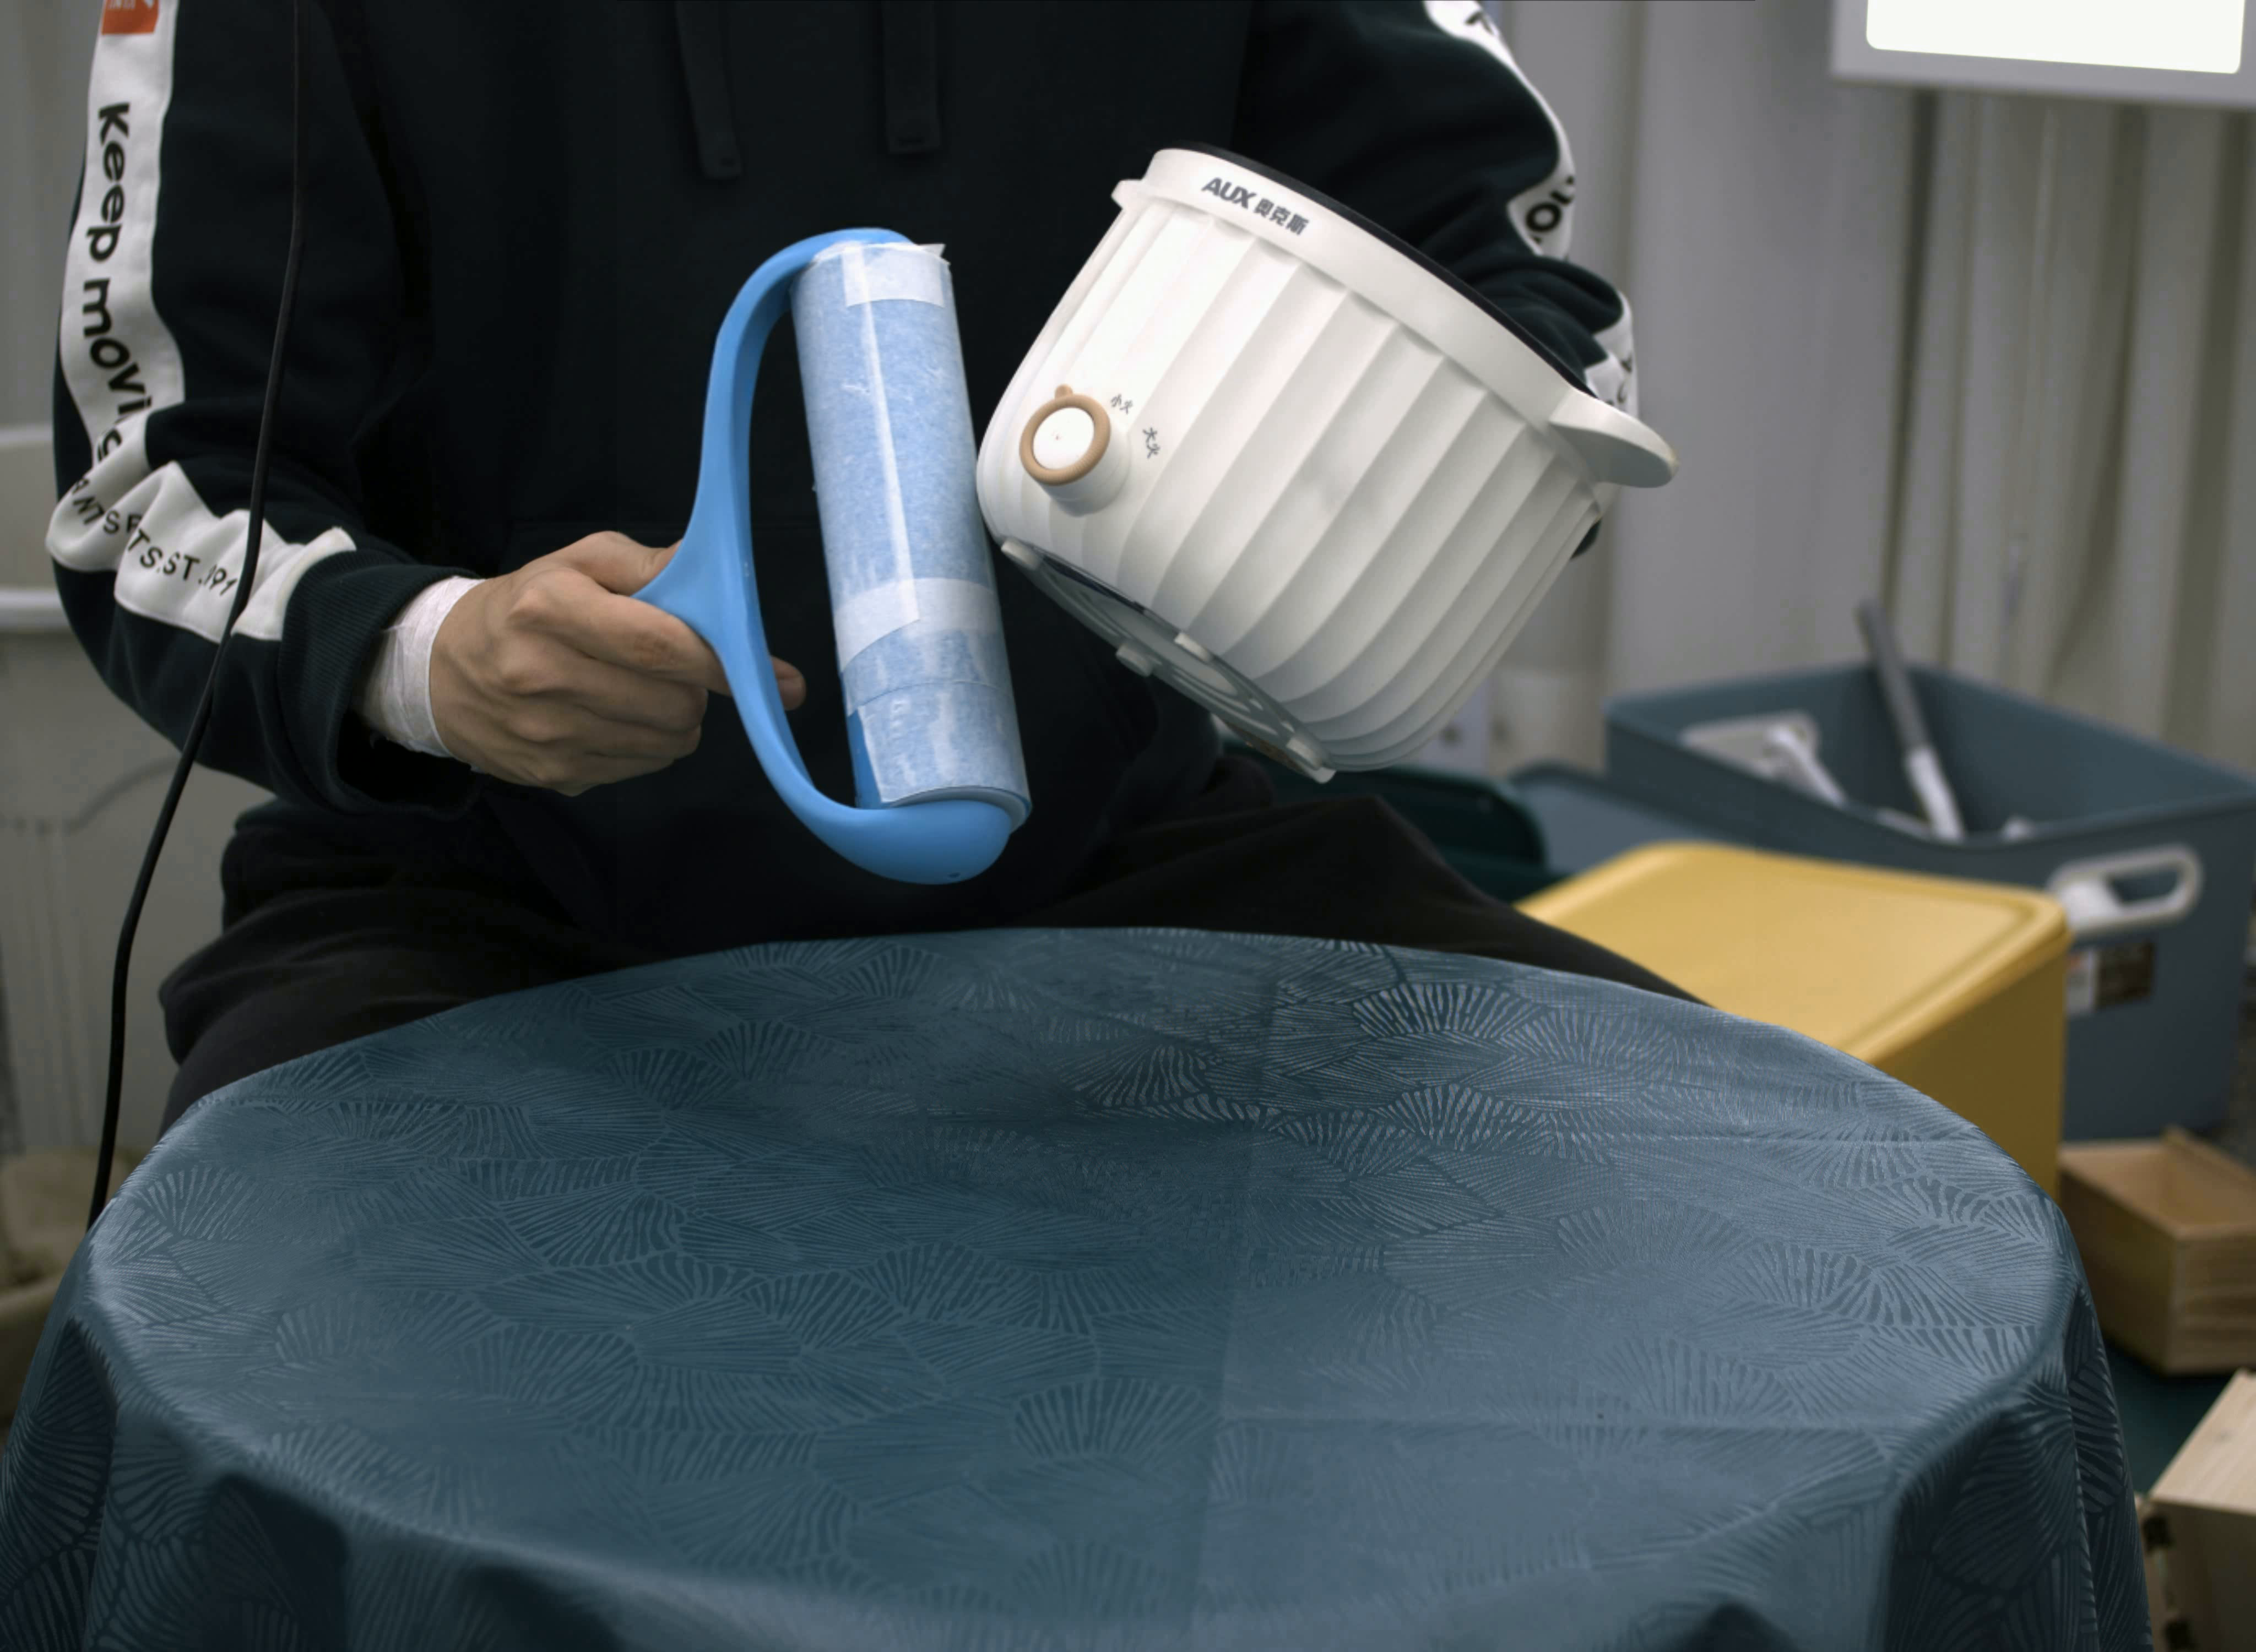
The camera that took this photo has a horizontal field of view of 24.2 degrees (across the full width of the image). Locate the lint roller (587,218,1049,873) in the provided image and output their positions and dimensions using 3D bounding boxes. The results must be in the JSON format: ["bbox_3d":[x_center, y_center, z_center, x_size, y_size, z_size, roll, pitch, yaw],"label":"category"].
[{"bbox_3d":[-0.117,-0.069,1.689,0.179,0.227,0.068,-24,-25,24],"label":"lint roller"}]

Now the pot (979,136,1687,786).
[{"bbox_3d":[0.047,-0.110,1.652,0.237,0.142,0.193,28,-11,35],"label":"pot"}]
